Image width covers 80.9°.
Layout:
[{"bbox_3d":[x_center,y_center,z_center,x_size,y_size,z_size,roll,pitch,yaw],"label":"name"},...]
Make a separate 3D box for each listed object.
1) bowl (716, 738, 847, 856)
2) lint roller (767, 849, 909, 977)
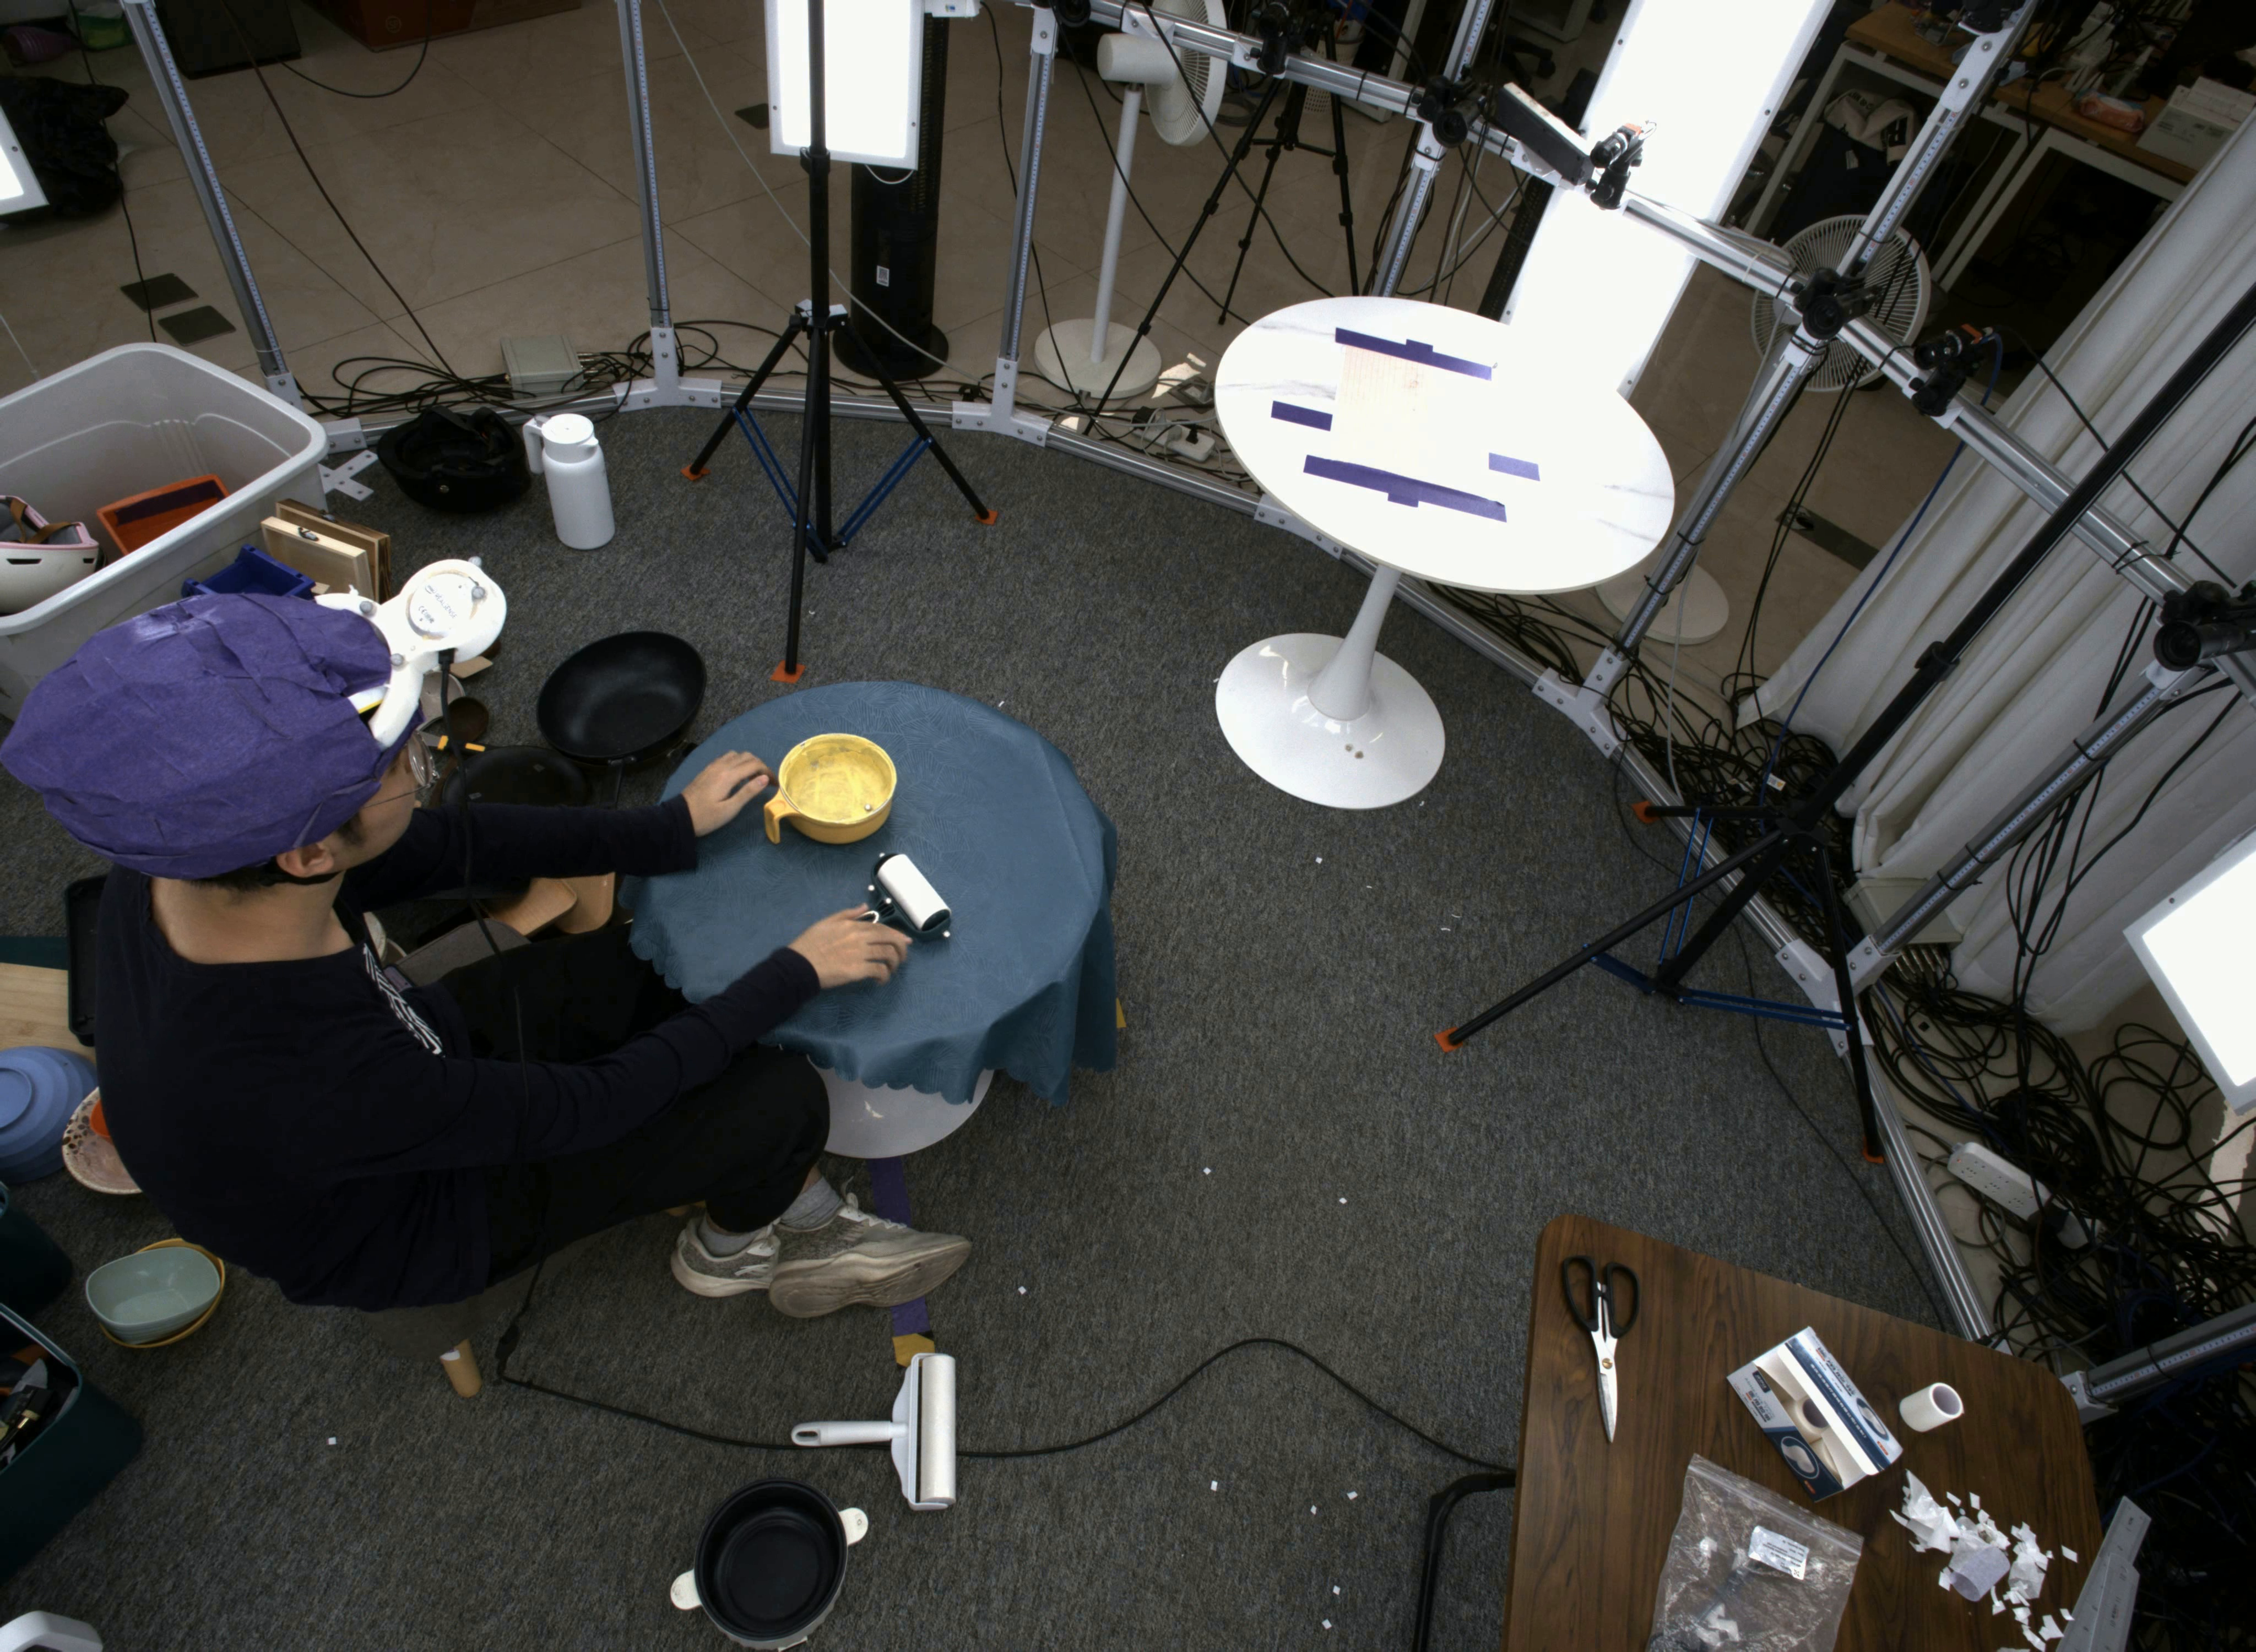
[{"bbox_3d":[-0.459,-0.033,1.708,0.150,0.075,0.179,41,55,15],"label":"bowl"},{"bbox_3d":[-0.378,0.123,1.631,0.180,0.049,0.131,-35,69,-28],"label":"lint roller"}]
